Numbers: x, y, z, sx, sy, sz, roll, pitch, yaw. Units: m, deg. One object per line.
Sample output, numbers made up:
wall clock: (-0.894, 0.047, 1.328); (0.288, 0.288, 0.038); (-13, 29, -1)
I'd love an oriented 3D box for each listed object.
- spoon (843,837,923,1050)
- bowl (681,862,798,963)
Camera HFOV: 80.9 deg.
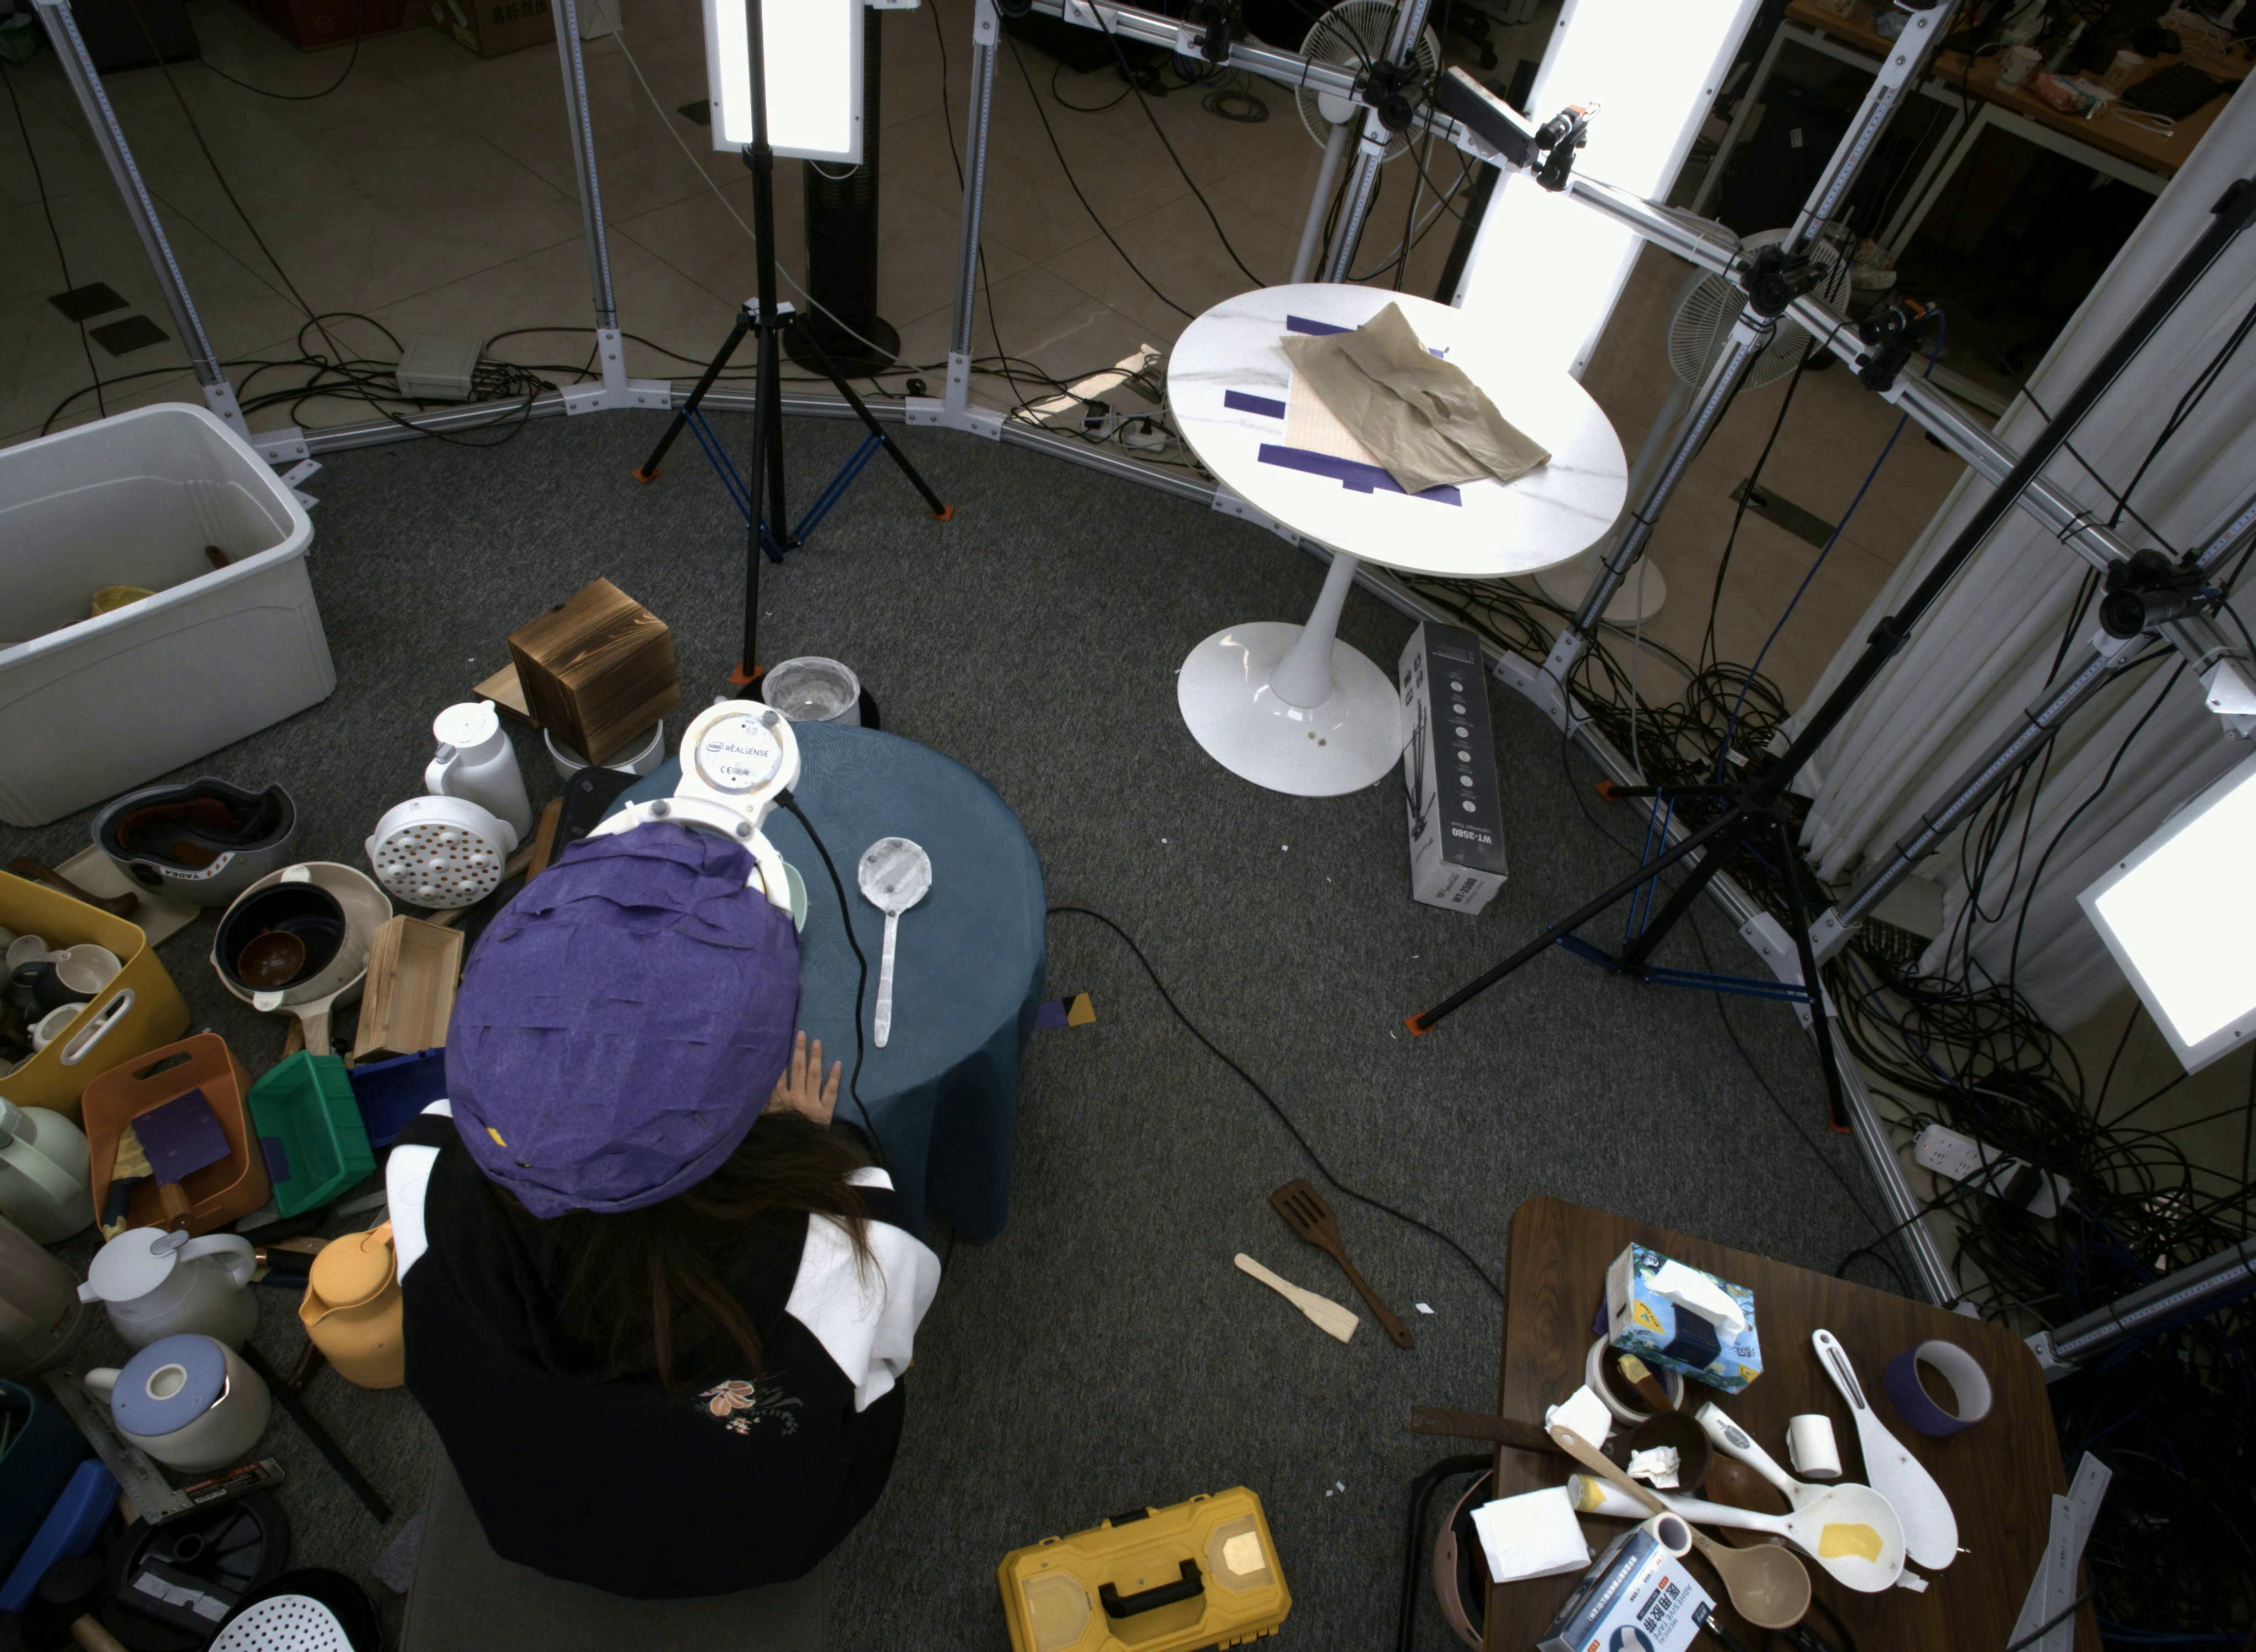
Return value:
spoon: (-0.314, 0.139, 1.607); (0.100, 0.061, 0.272); (4, 52, -6)
bowl: (-0.475, 0.114, 1.586); (0.151, 0.060, 0.149); (8, 52, -9)
